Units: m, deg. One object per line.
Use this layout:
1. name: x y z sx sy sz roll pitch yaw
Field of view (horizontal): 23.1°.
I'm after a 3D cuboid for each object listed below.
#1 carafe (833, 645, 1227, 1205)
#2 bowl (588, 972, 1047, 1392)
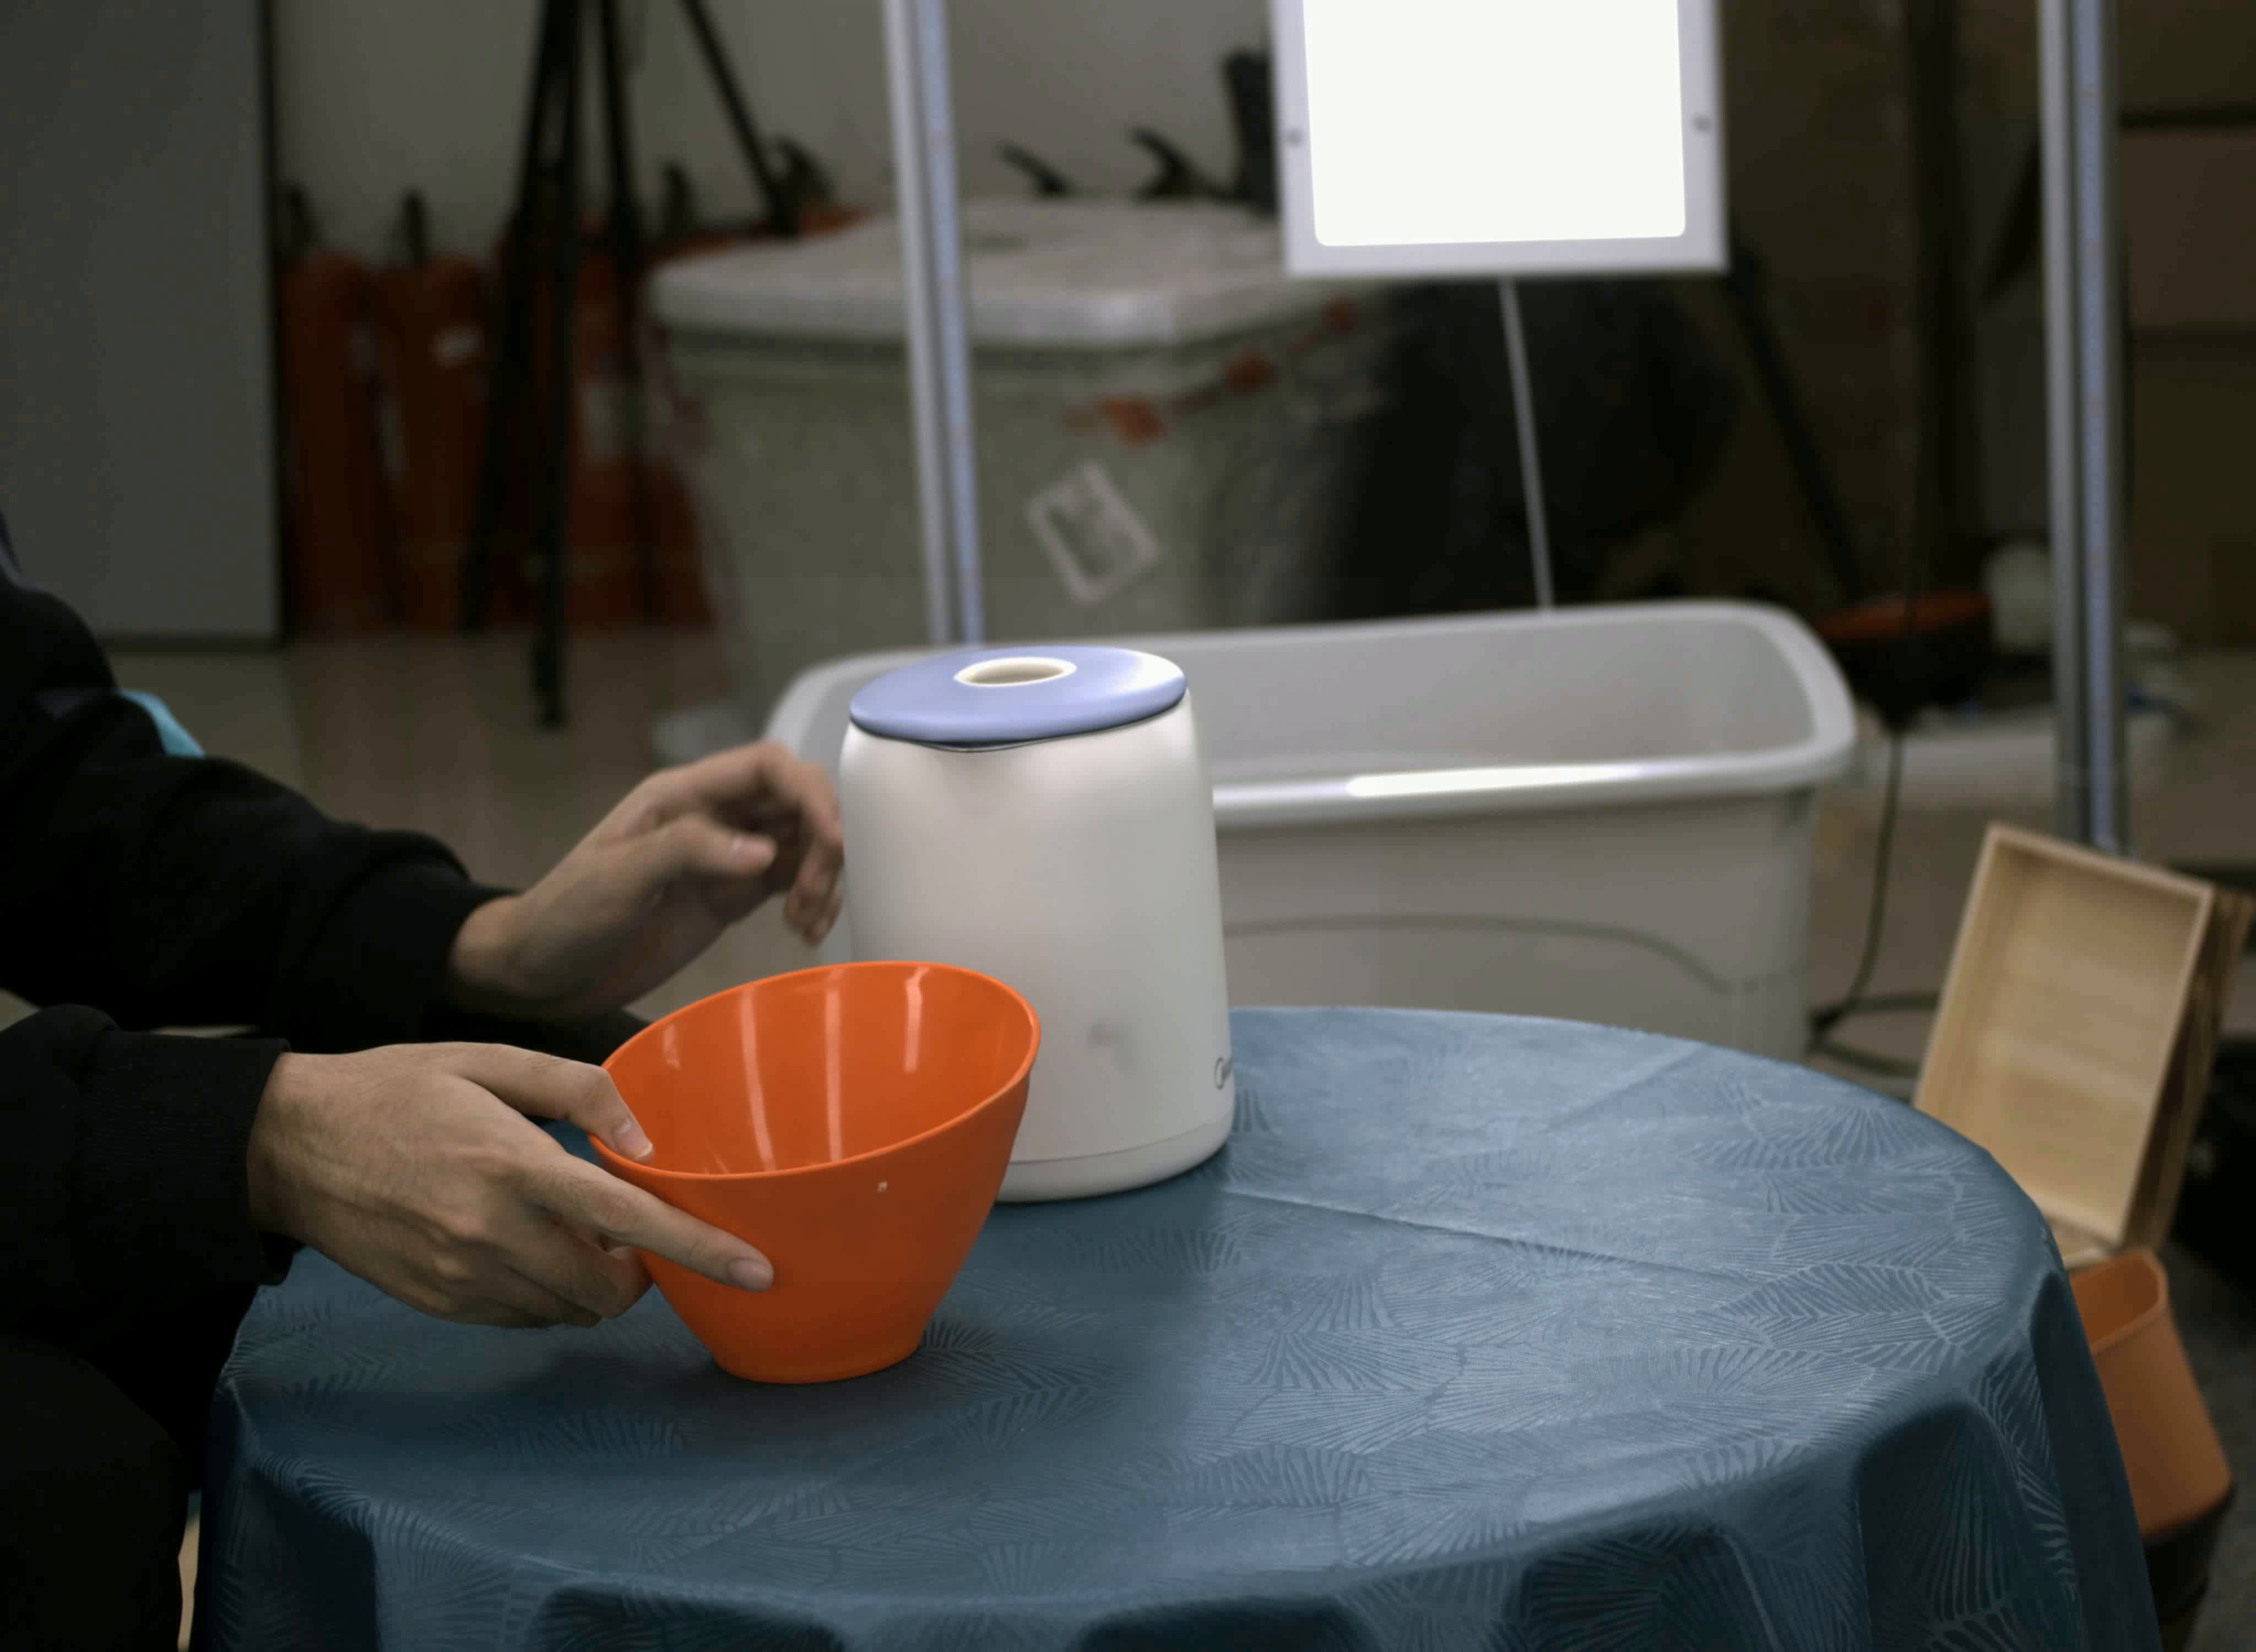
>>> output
1. carafe: -0.029 0.028 1.949 0.133 0.183 0.189 0 12 12
2. bowl: -0.095 0.117 1.757 0.147 0.105 0.148 -5 14 0
